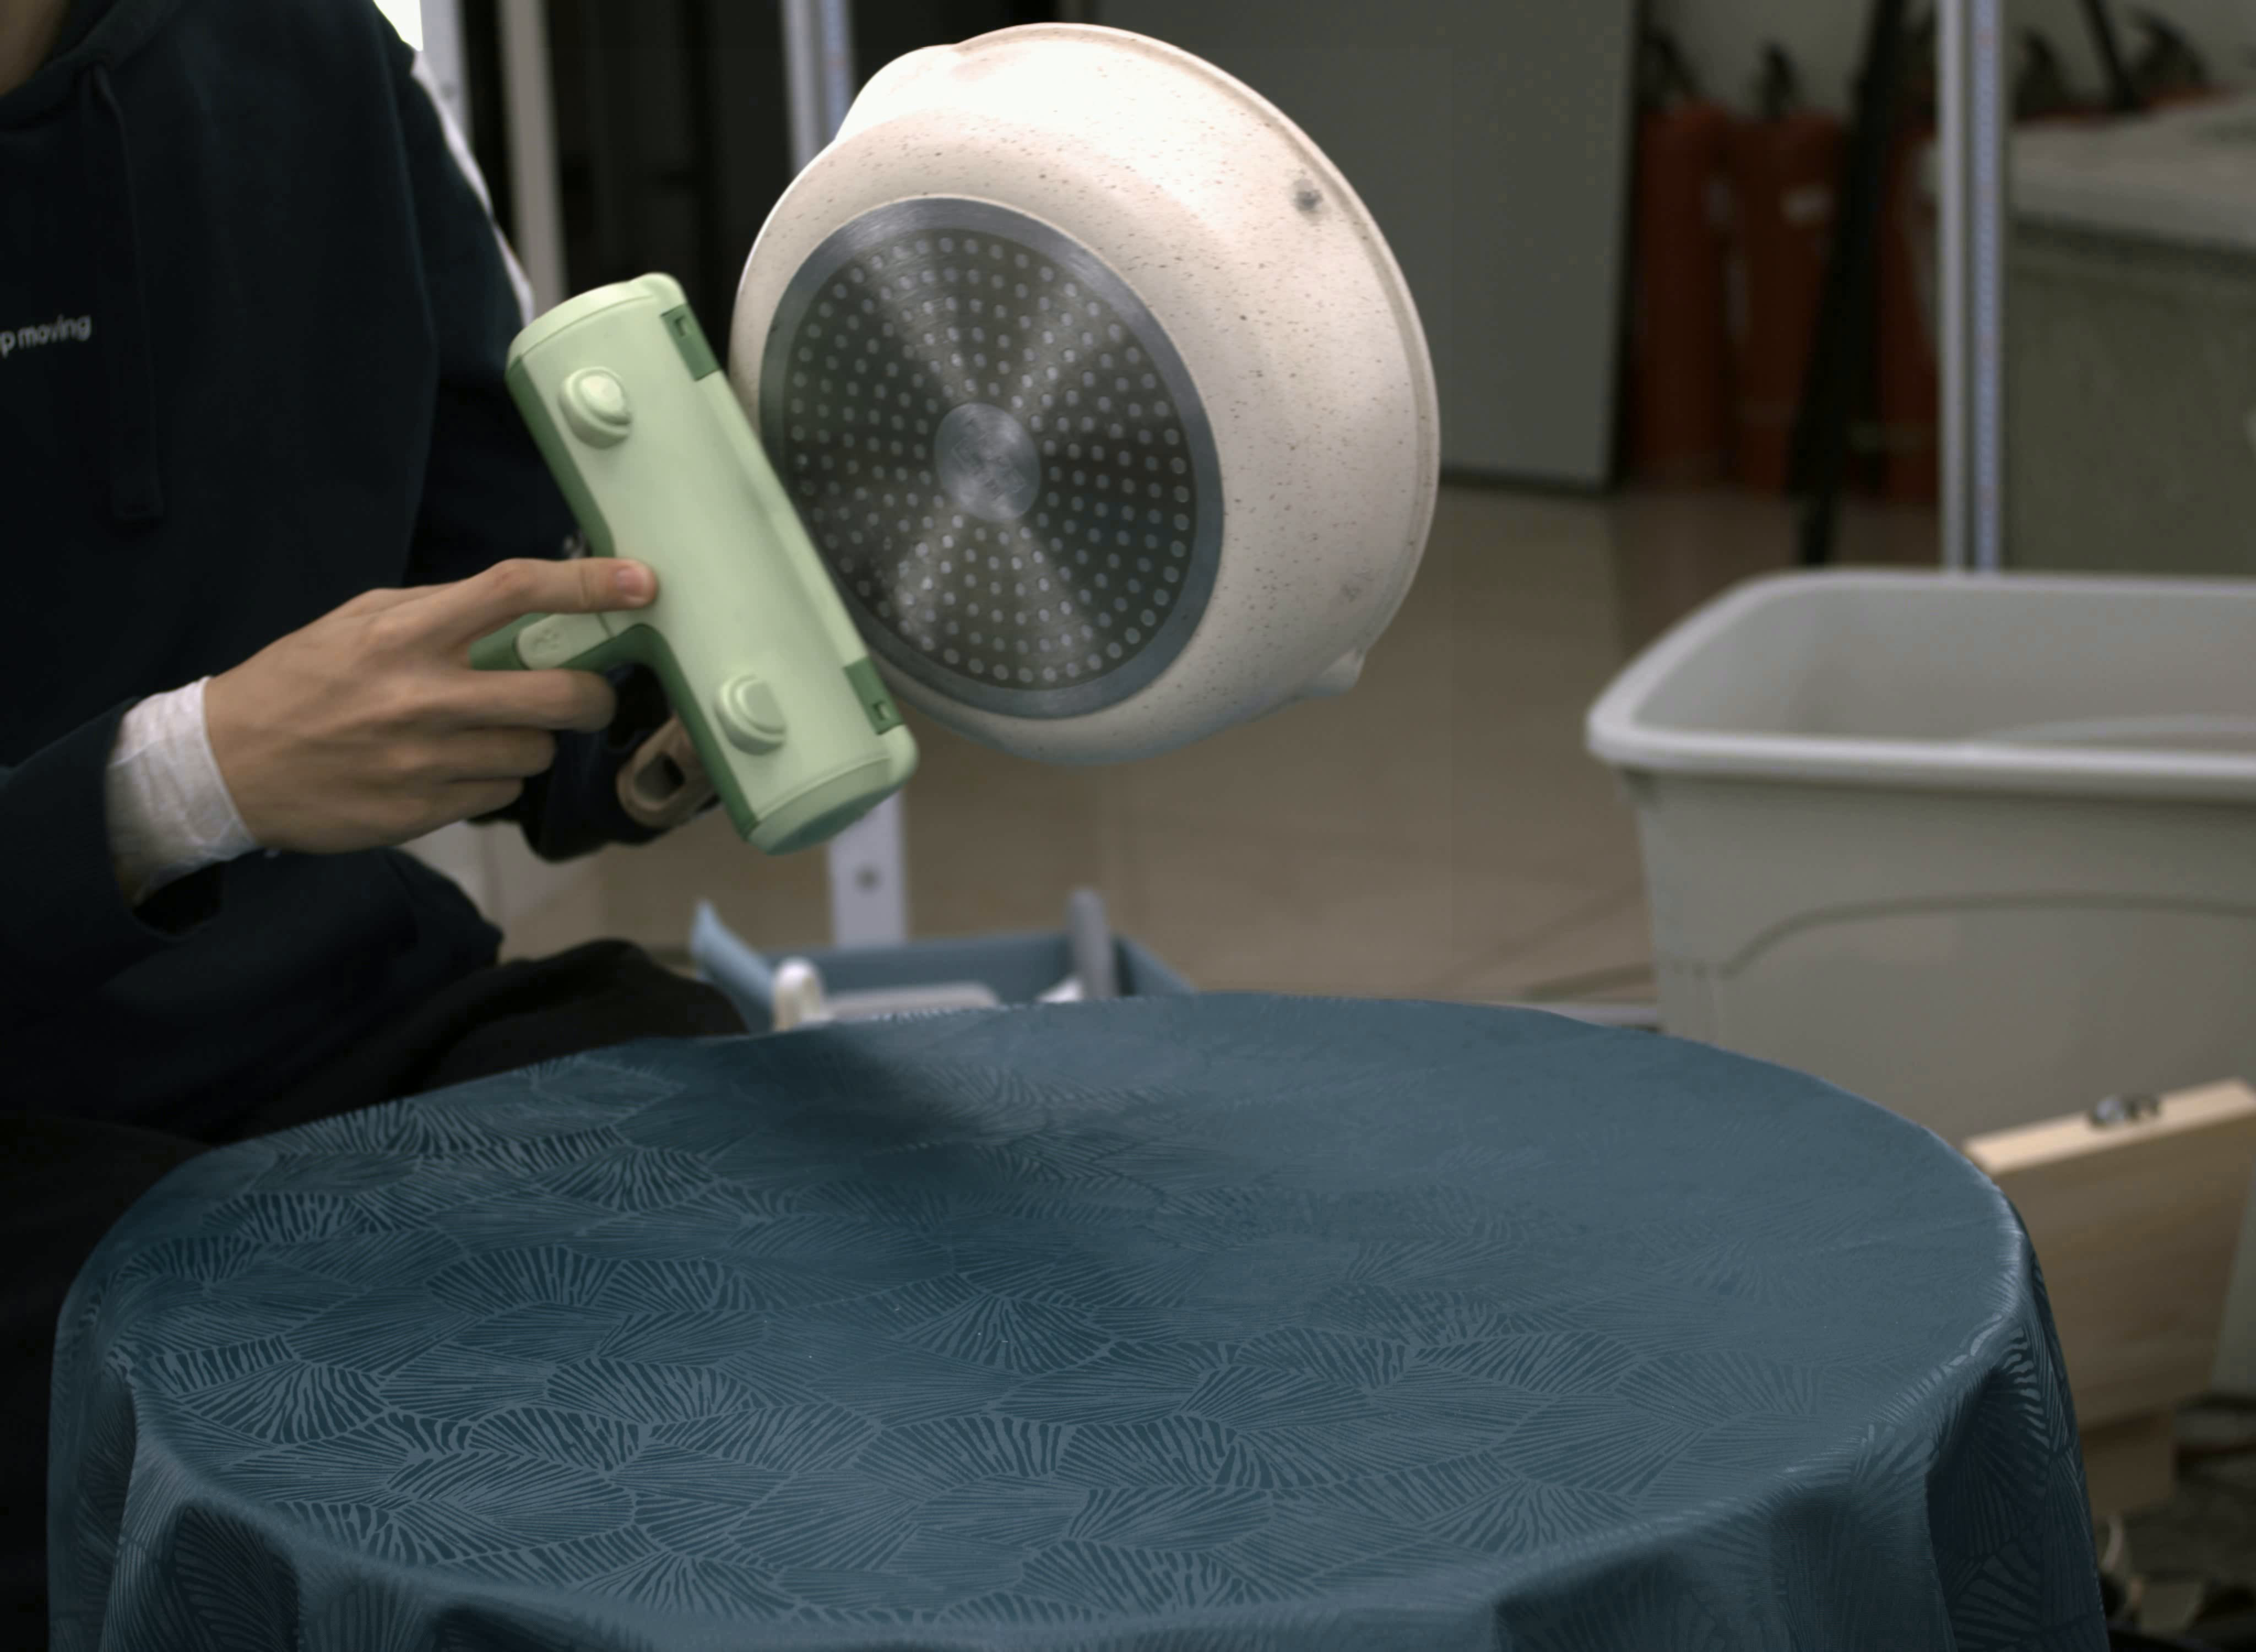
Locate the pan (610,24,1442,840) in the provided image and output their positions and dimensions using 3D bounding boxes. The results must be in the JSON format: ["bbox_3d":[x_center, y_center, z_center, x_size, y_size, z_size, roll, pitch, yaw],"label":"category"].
[{"bbox_3d":[-0.075,-0.089,1.855,0.439,0.264,0.101,-39,-1,41],"label":"pan"}]

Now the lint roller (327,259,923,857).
[{"bbox_3d":[-0.188,-0.062,1.786,0.182,0.200,0.082,-28,-8,0],"label":"lint roller"}]
